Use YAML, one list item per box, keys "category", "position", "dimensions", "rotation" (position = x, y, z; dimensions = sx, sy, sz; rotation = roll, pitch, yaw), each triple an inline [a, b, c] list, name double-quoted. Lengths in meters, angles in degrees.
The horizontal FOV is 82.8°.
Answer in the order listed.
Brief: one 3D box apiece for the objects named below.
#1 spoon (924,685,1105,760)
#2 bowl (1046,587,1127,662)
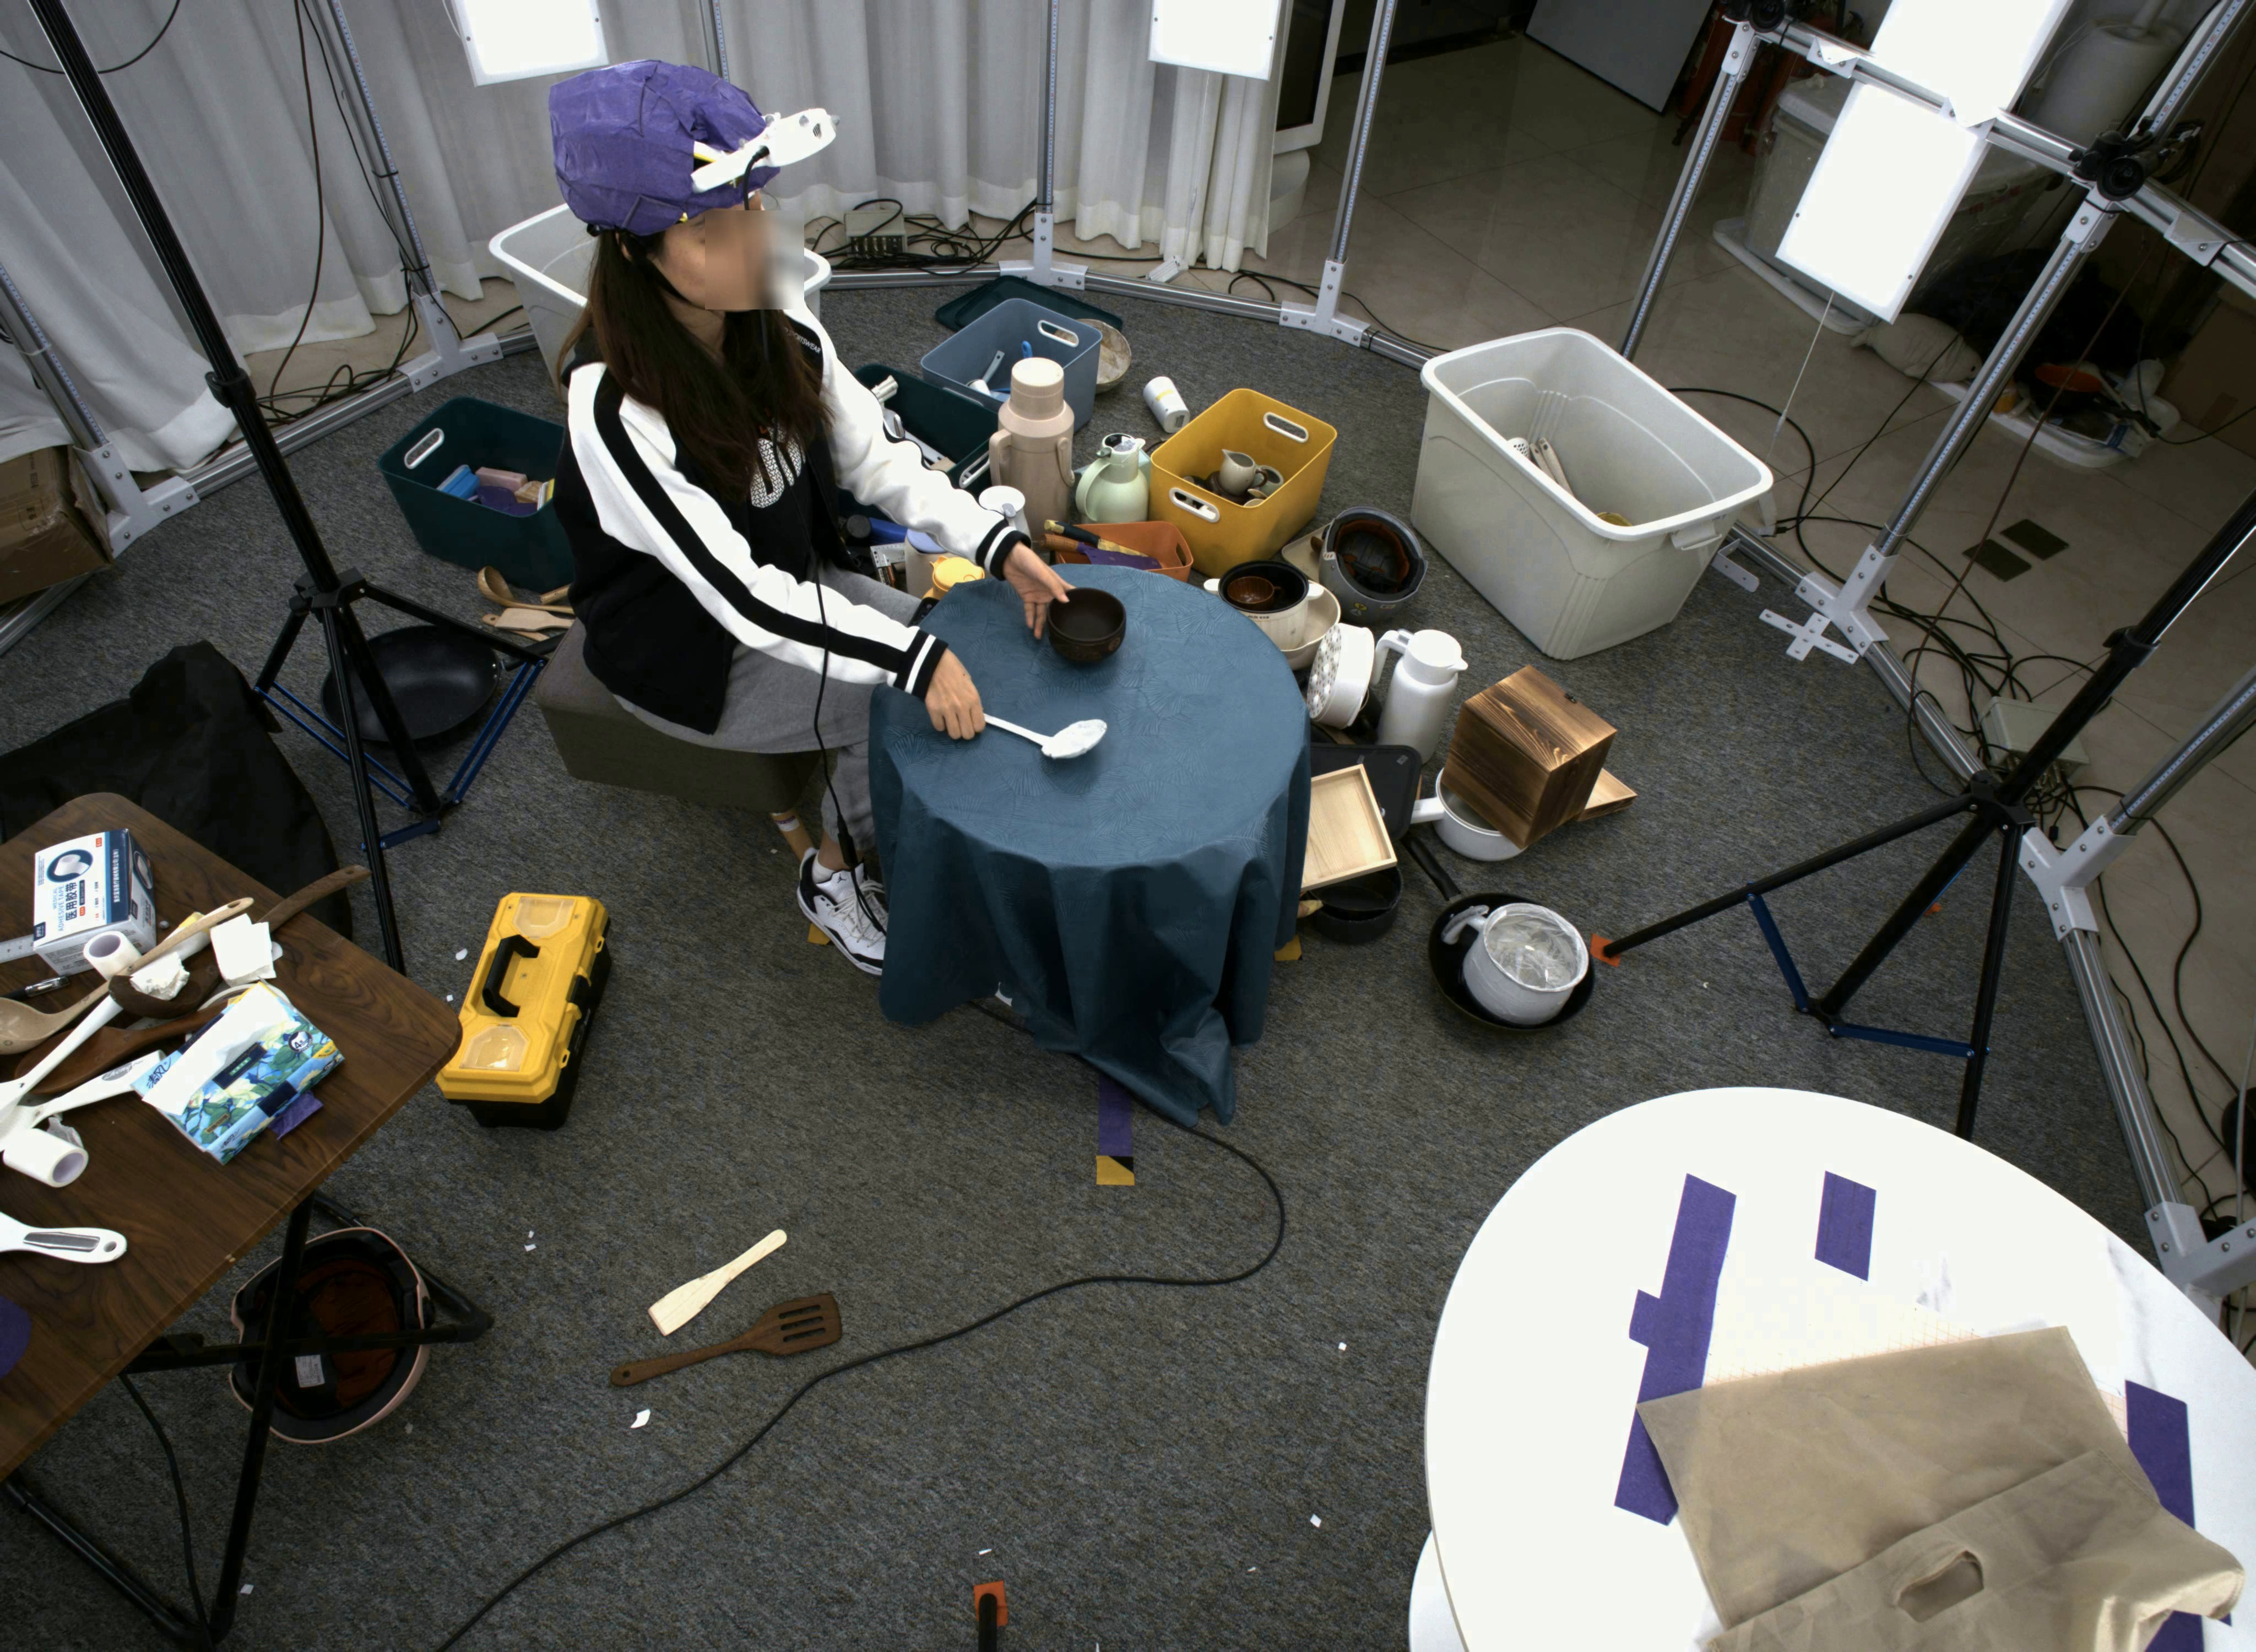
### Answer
- category: "spoon"
  position: [-0.159, -0.160, 1.760]
  dimensions: [0.279, 0.058, 0.102]
  rotation: [25, 43, 16]
- category: "bowl"
  position: [-0.061, -0.284, 1.864]
  dimensions: [0.118, 0.068, 0.121]
  rotation: [2, 49, -2]
